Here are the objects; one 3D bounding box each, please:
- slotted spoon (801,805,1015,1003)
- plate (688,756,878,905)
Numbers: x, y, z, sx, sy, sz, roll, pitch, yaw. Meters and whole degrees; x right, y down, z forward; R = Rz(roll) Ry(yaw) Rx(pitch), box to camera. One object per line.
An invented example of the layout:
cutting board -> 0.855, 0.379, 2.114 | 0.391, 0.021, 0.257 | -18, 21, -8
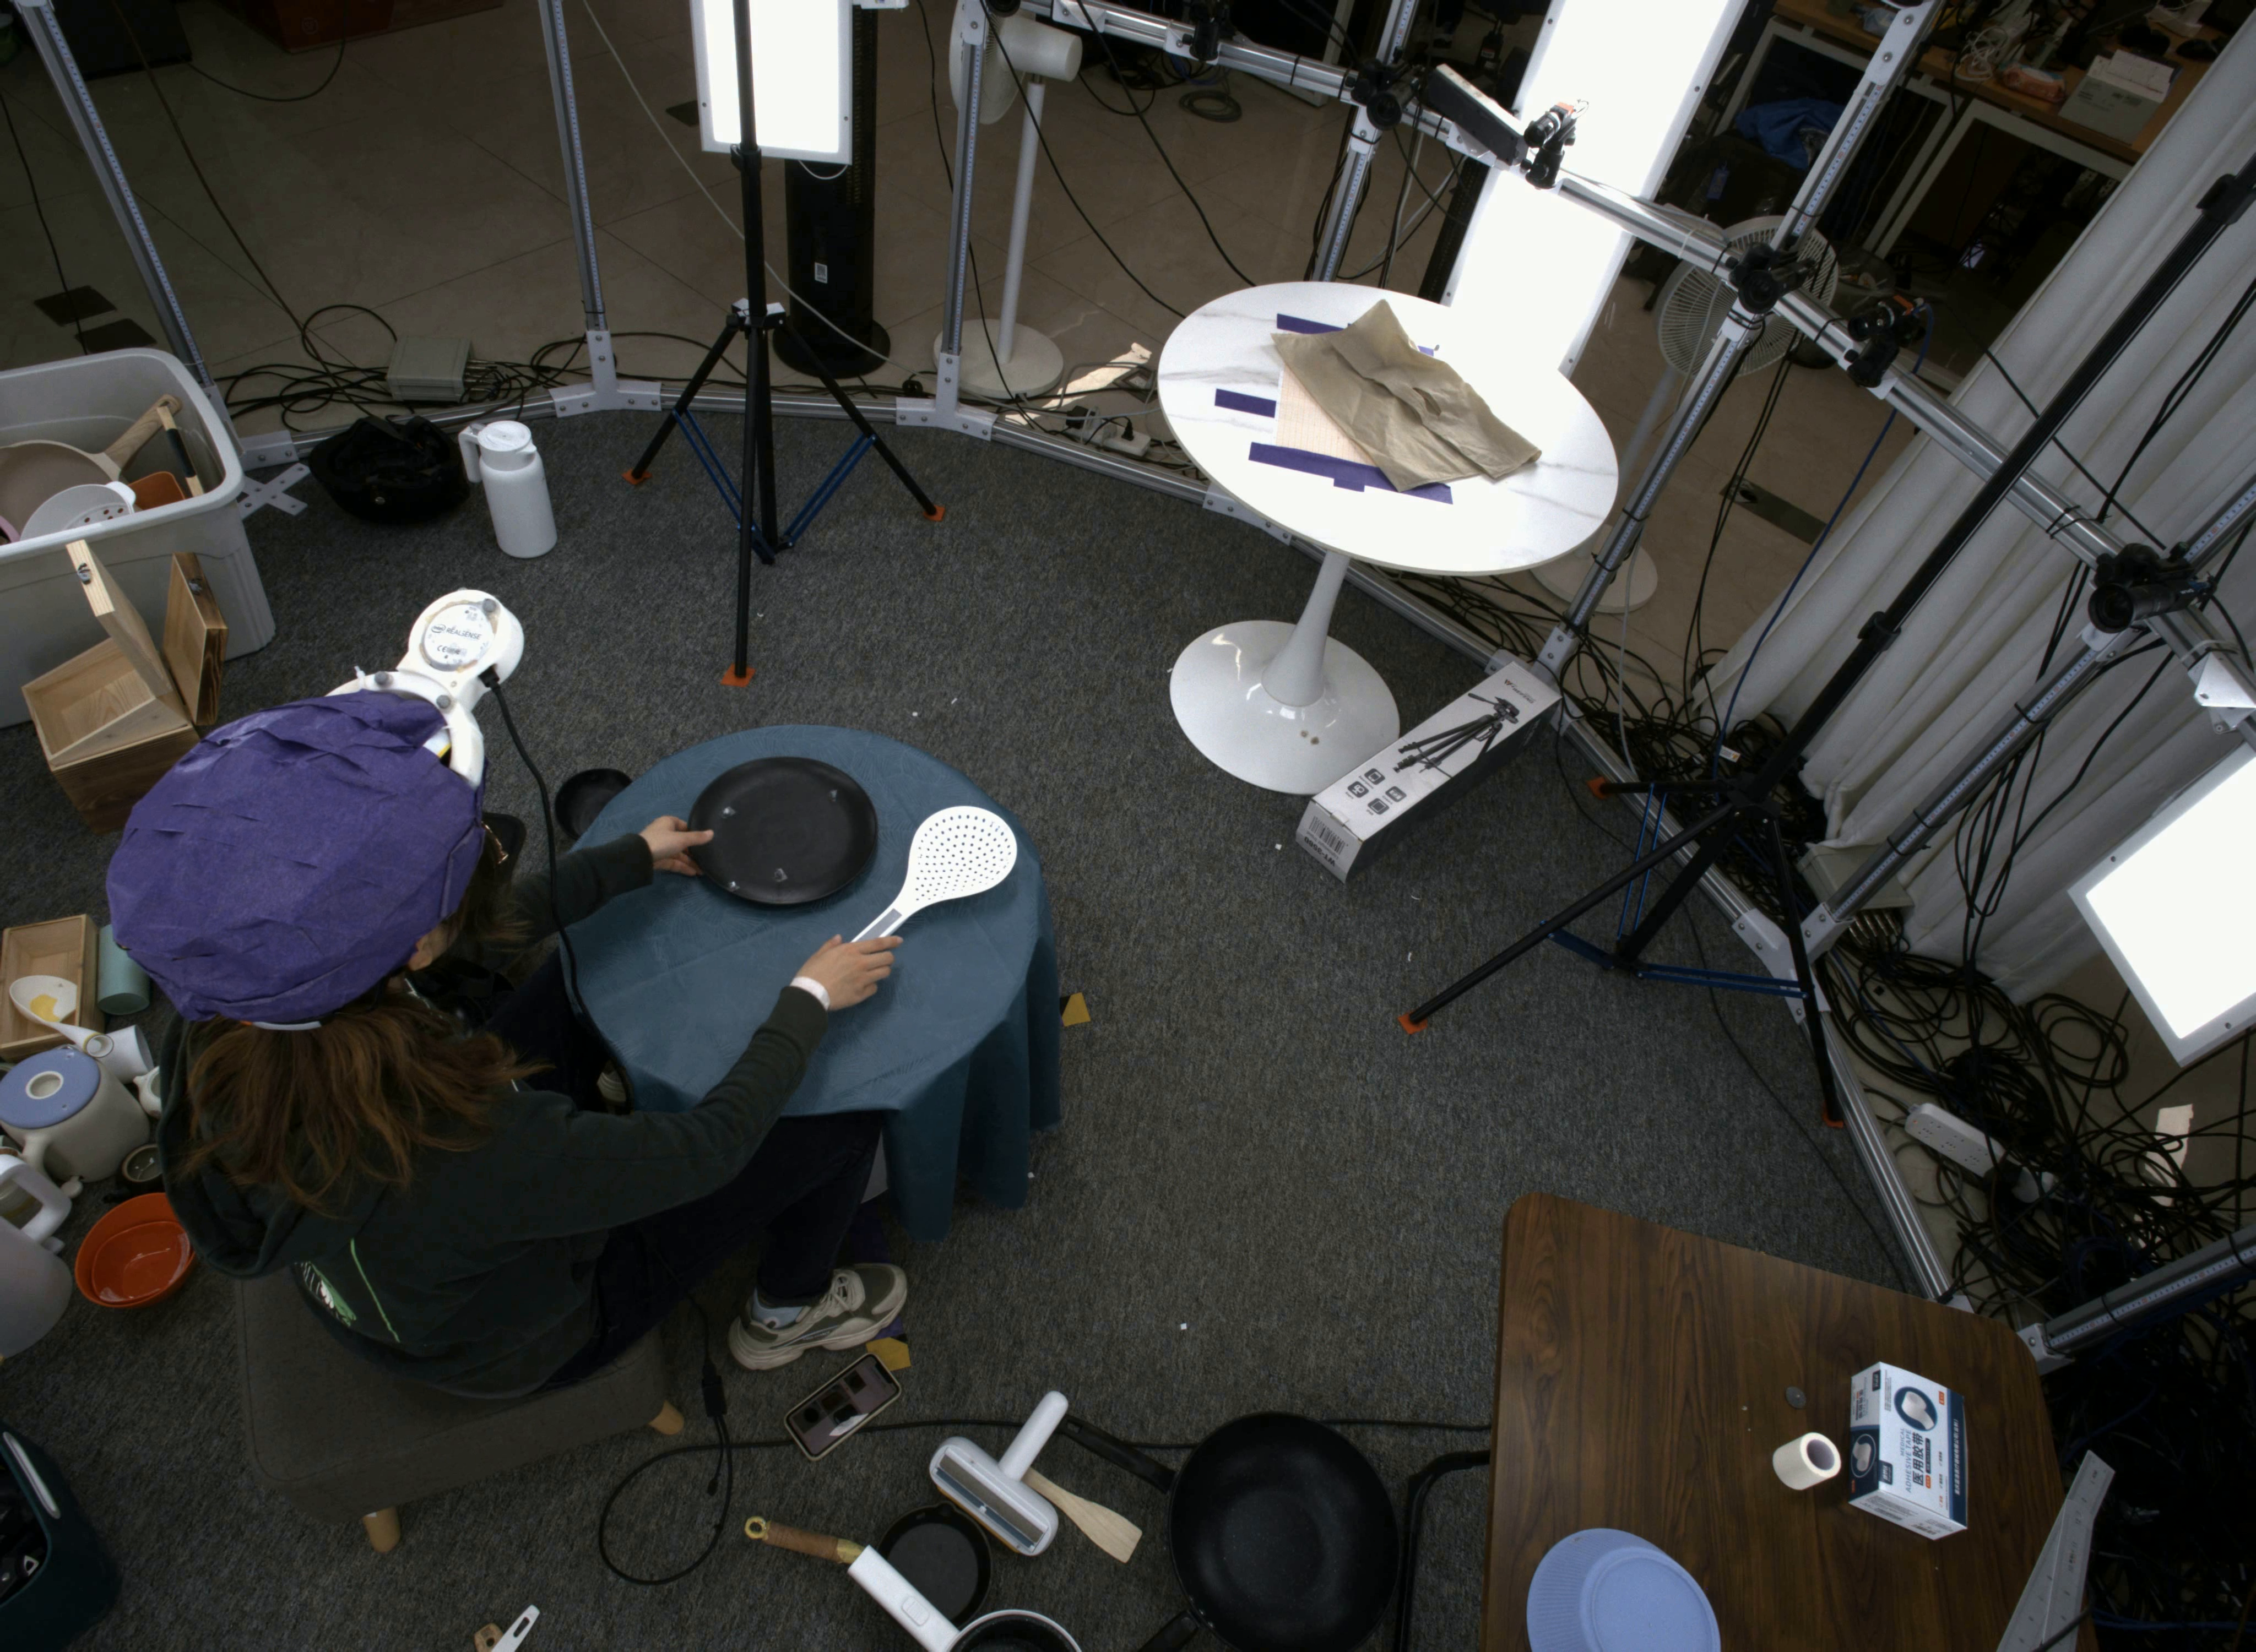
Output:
slotted spoon -> -0.282, 0.099, 1.663 | 0.133, 0.047, 0.350 | 36, 54, 16
plate -> -0.452, 0.007, 1.702 | 0.244, 0.024, 0.240 | 8, 52, -9
